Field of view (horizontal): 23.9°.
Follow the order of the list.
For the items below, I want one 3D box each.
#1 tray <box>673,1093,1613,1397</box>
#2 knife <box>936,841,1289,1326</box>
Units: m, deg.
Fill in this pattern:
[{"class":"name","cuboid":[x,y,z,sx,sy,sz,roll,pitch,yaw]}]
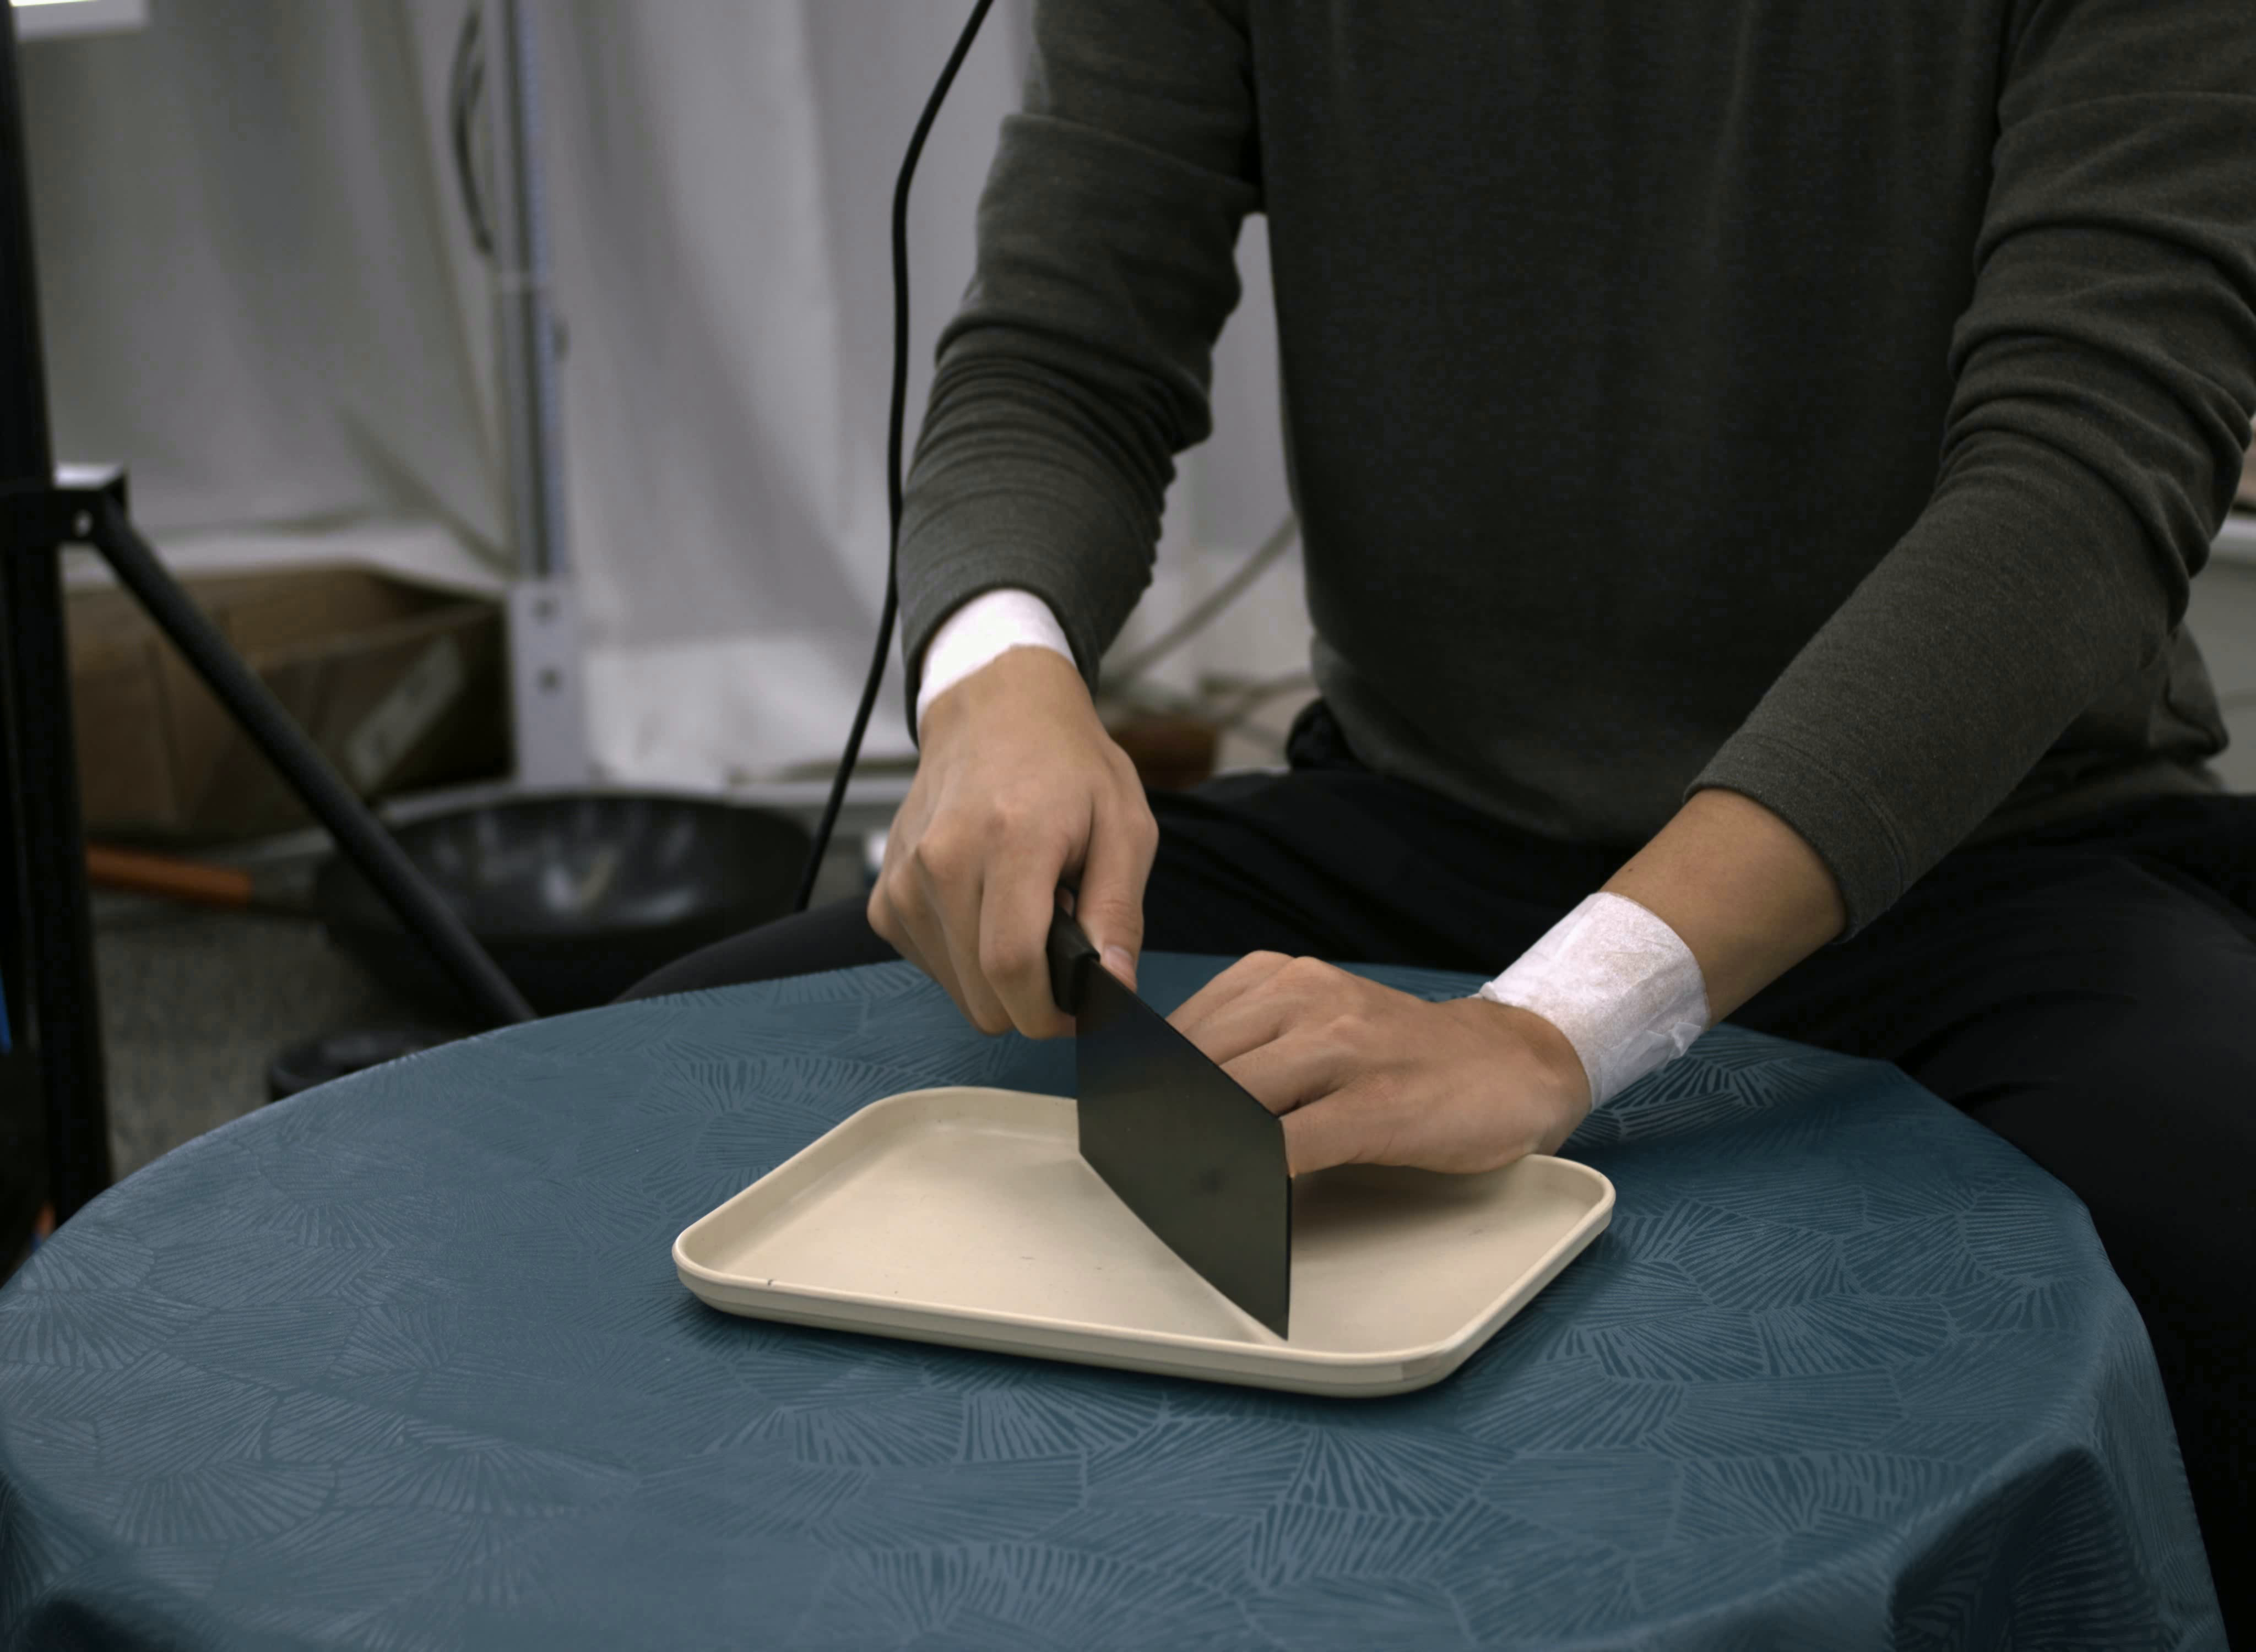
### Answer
[{"class":"tray","cuboid":[0.006,0.117,1.496,0.243,0.017,0.168,5,17,26]},{"class":"knife","cuboid":[-0.005,0.068,1.546,0.020,0.081,0.307,-4,20,-18]}]
